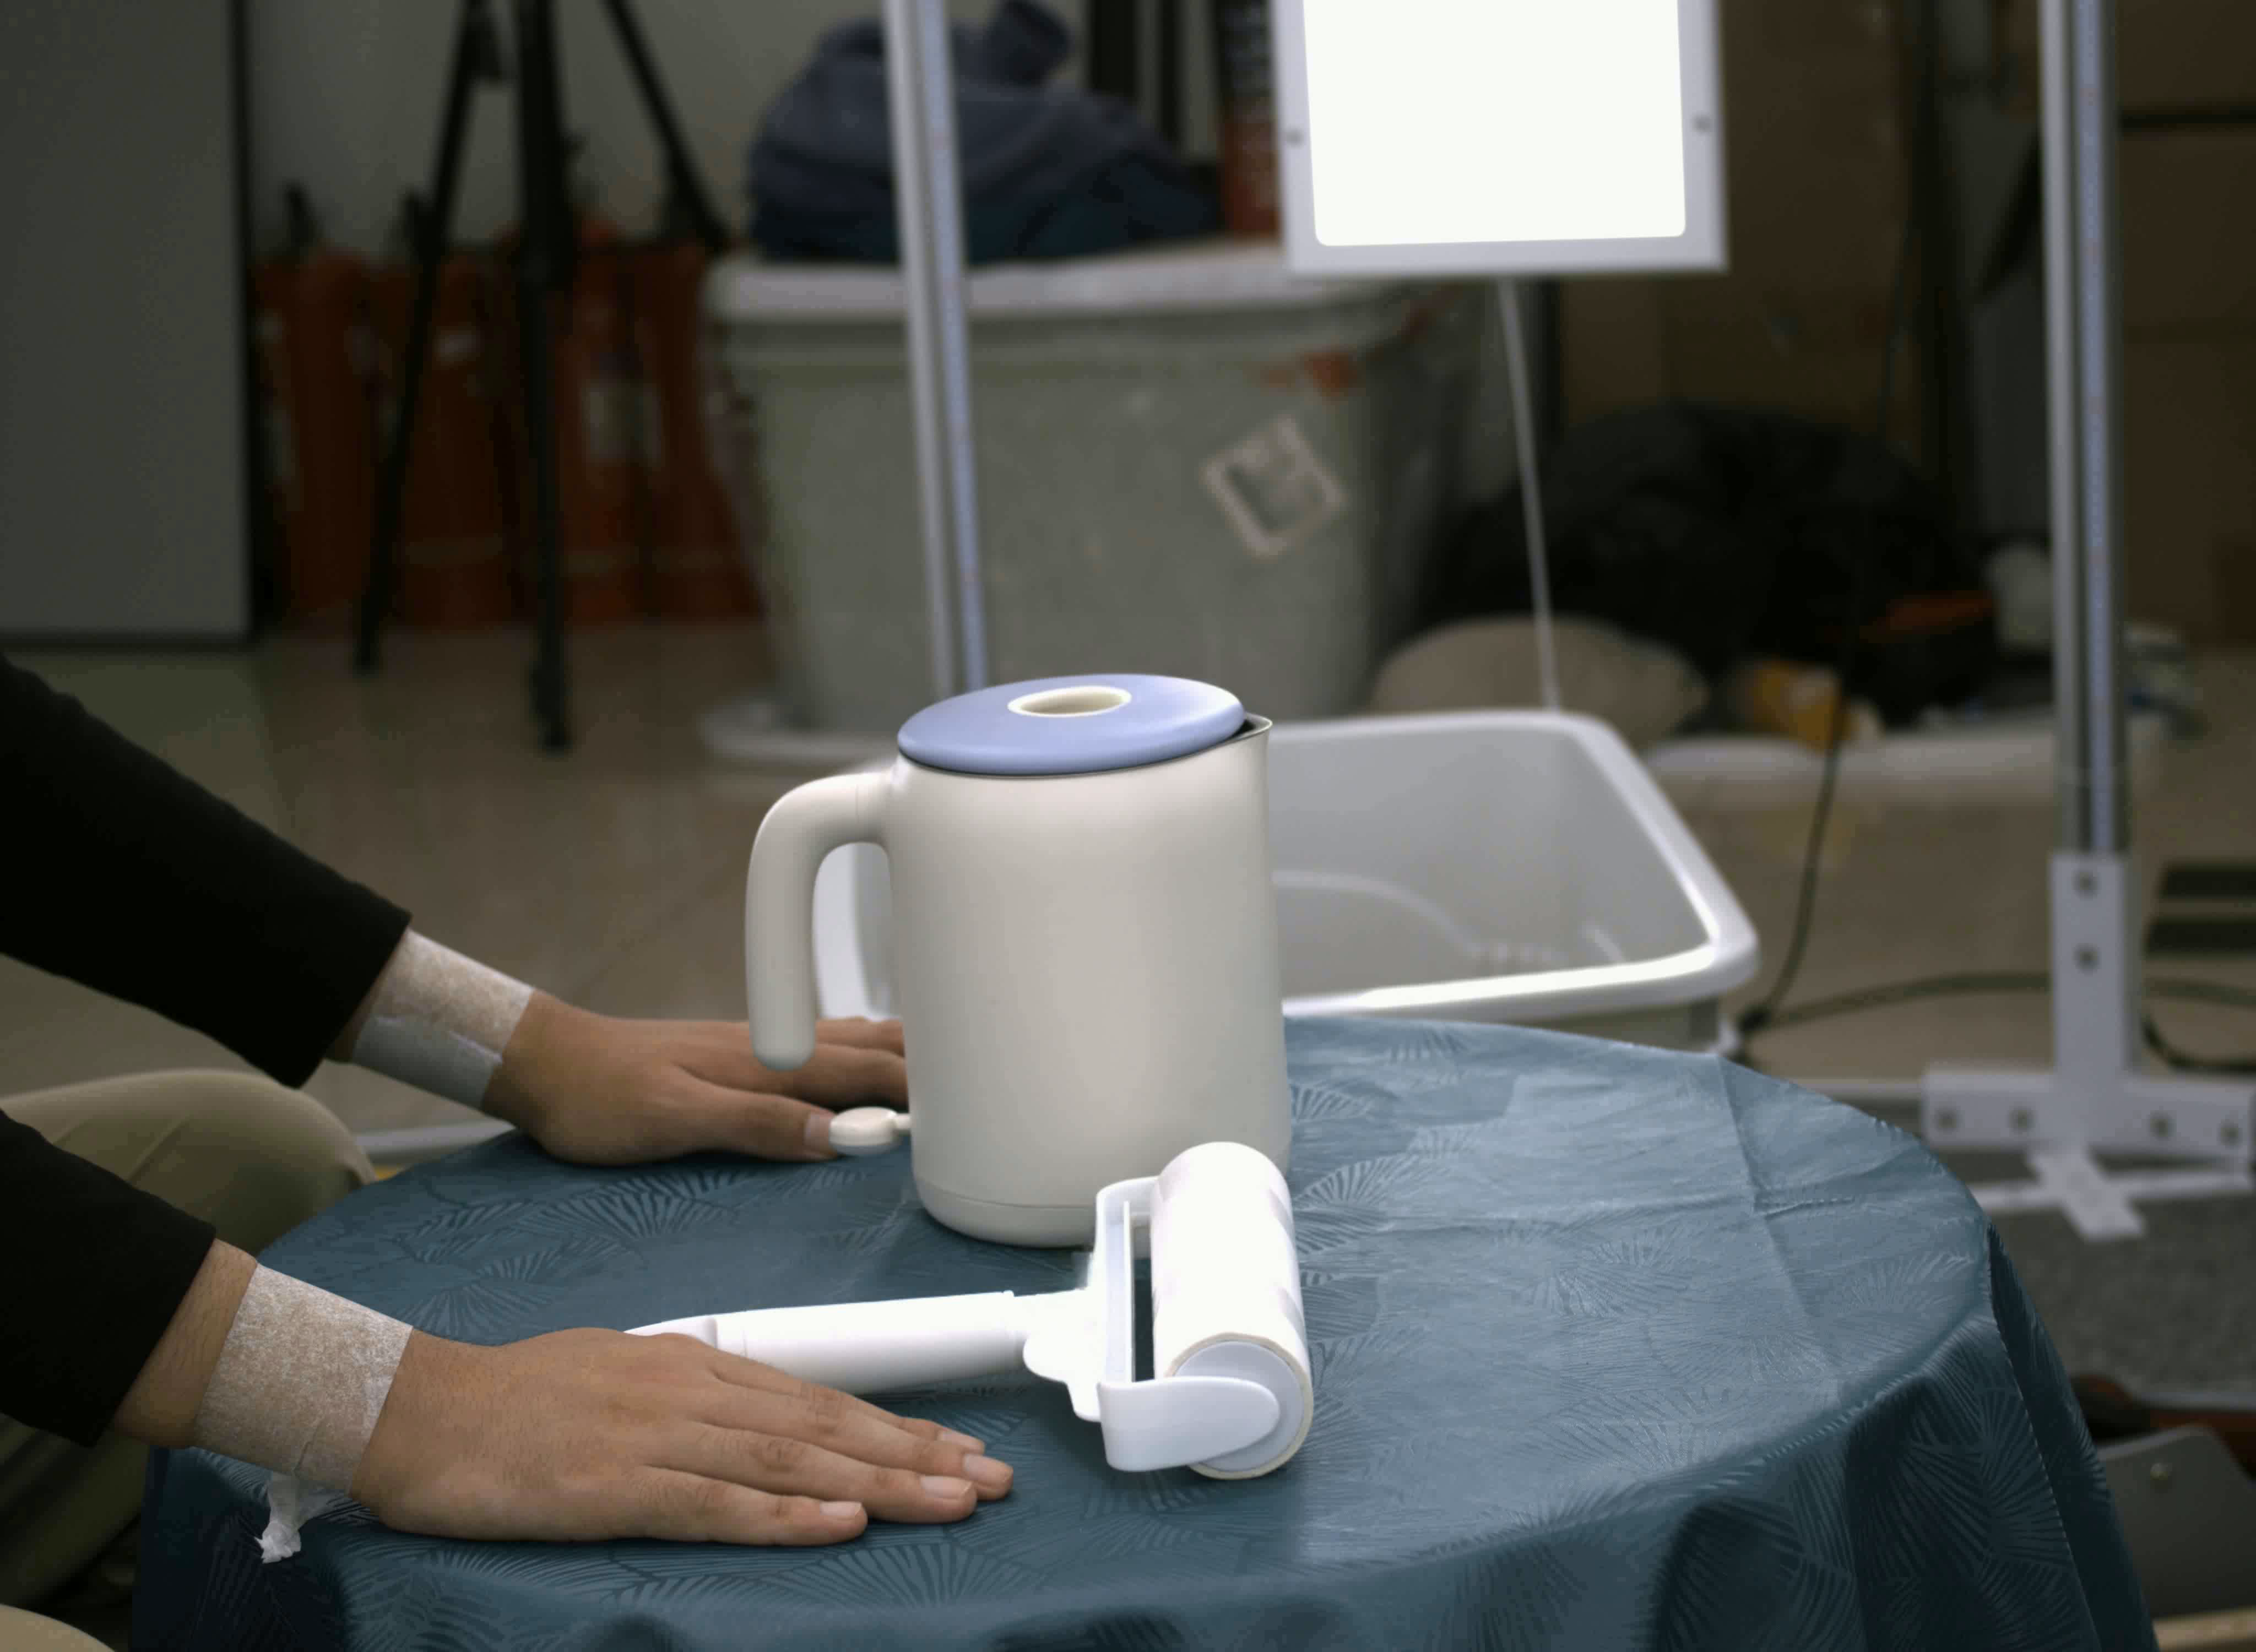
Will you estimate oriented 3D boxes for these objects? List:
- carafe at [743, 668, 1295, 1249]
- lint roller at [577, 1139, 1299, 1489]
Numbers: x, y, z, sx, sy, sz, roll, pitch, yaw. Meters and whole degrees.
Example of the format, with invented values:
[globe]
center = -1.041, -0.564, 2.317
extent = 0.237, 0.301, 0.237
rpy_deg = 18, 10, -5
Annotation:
[carafe]
center = -0.038, 0.046, 1.879
extent = 0.192, 0.183, 0.131
rpy_deg = -5, 13, 8
[lint roller]
center = -0.060, 0.157, 1.707
extent = 0.225, 0.048, 0.202
rpy_deg = -6, 15, 2
